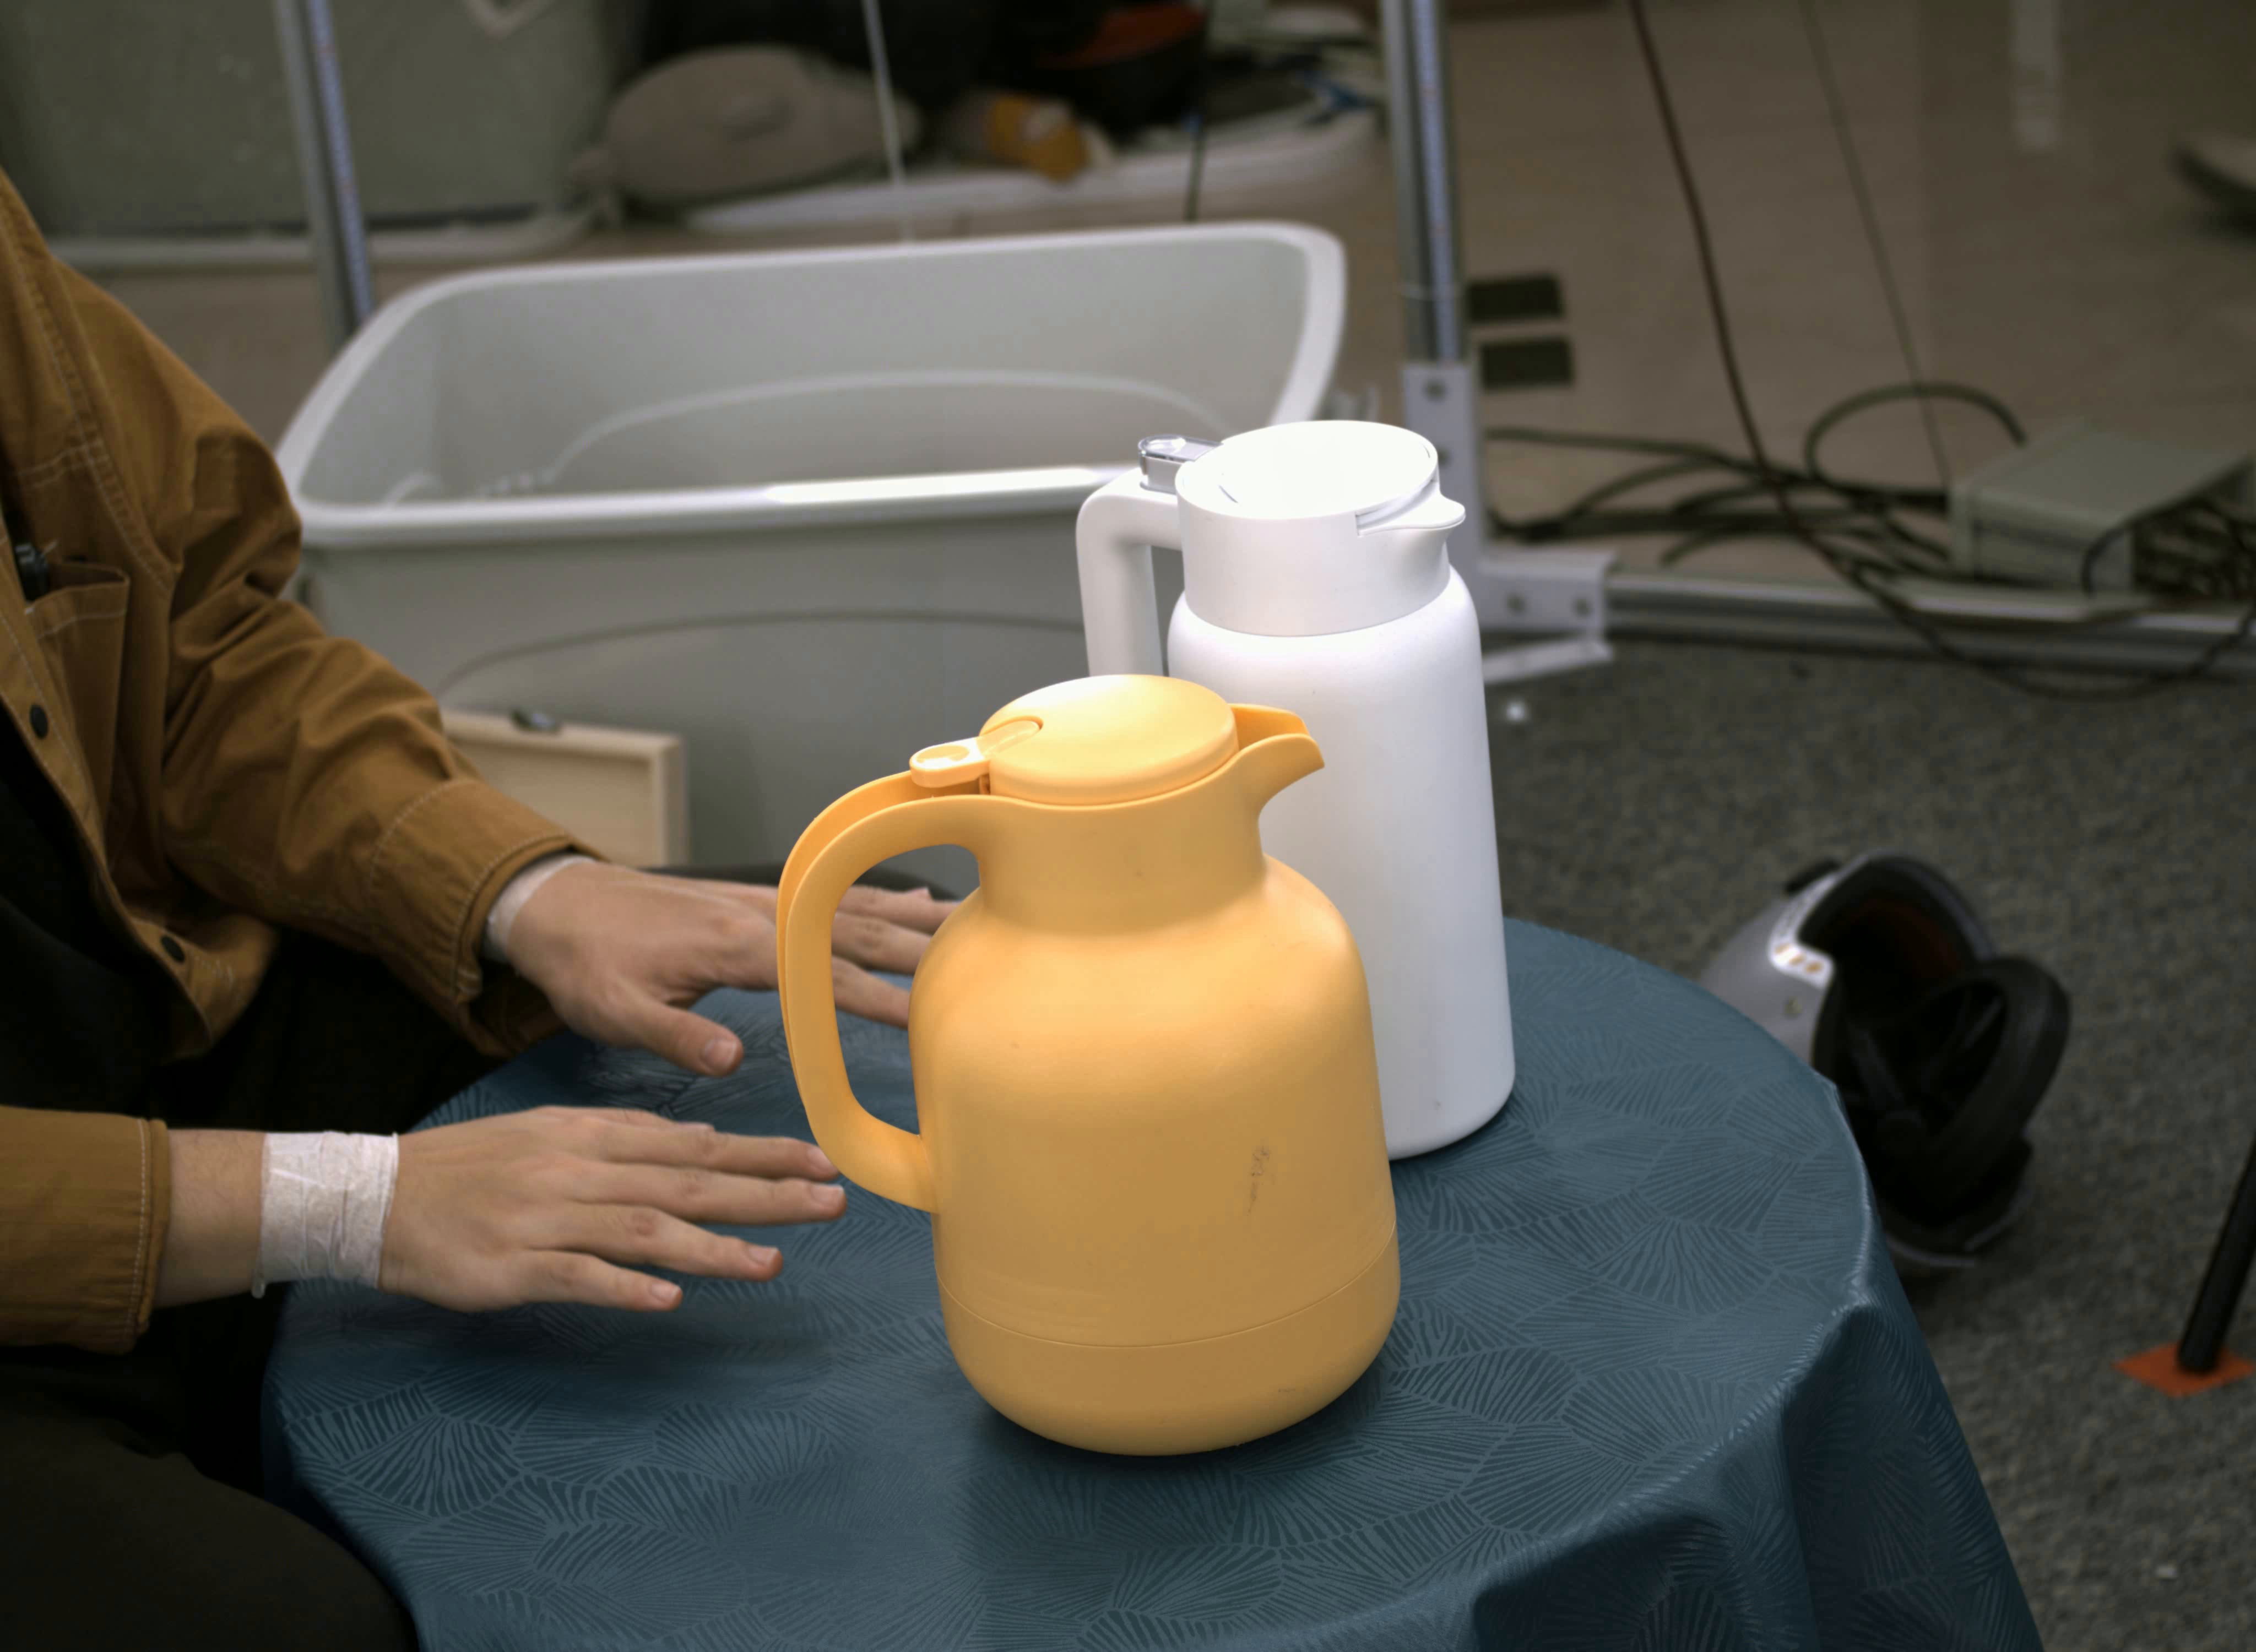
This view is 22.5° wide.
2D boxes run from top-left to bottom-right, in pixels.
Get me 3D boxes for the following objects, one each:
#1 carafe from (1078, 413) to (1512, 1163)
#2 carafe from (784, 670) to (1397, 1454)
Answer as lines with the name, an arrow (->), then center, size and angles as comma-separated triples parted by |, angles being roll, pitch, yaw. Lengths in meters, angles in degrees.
carafe -> 0.064, -0.015, 2.144 | 0.172, 0.273, 0.122 | 13, 34, 35
carafe -> -0.014, 0.080, 1.965 | 0.202, 0.264, 0.161 | -8, 23, -6
